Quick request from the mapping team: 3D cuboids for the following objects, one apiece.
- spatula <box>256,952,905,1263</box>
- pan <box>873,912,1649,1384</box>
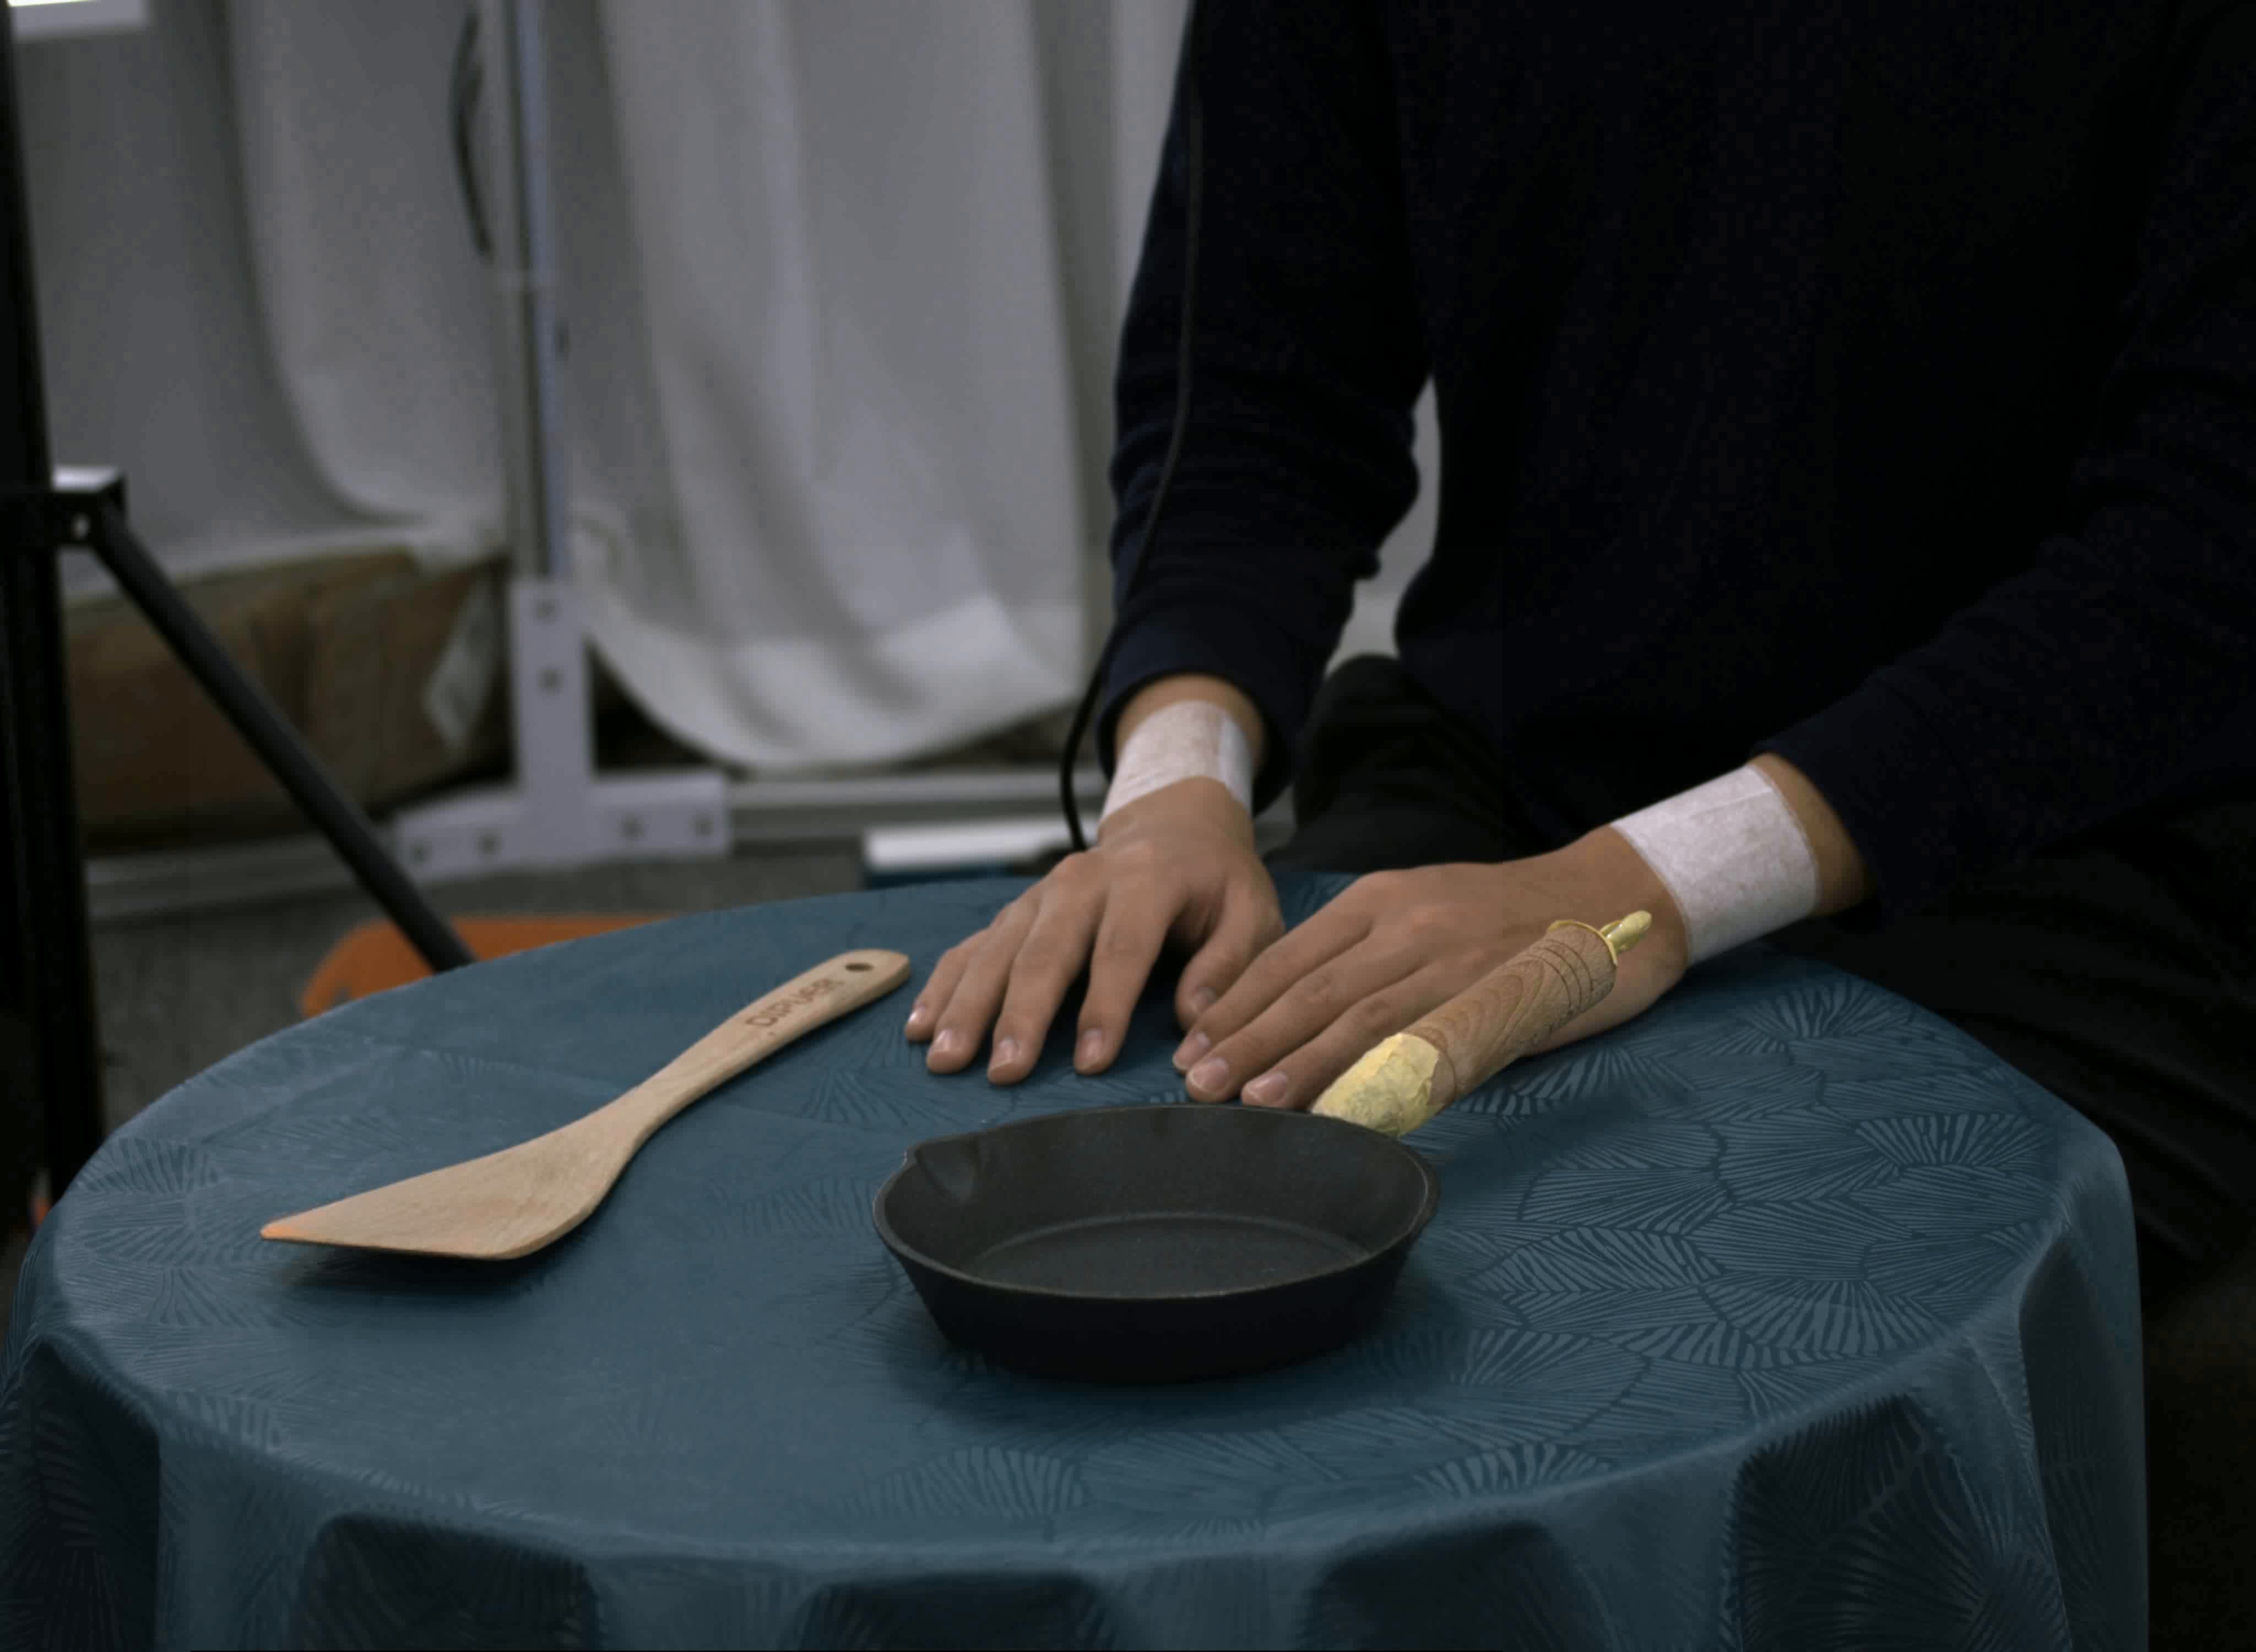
[{"bbox_3d":[-0.148,0.083,1.640,0.081,0.016,0.322,6,18,25],"label":"spatula"},{"bbox_3d":[0.060,0.089,1.523,0.172,0.049,0.317,10,21,38],"label":"pan"}]
